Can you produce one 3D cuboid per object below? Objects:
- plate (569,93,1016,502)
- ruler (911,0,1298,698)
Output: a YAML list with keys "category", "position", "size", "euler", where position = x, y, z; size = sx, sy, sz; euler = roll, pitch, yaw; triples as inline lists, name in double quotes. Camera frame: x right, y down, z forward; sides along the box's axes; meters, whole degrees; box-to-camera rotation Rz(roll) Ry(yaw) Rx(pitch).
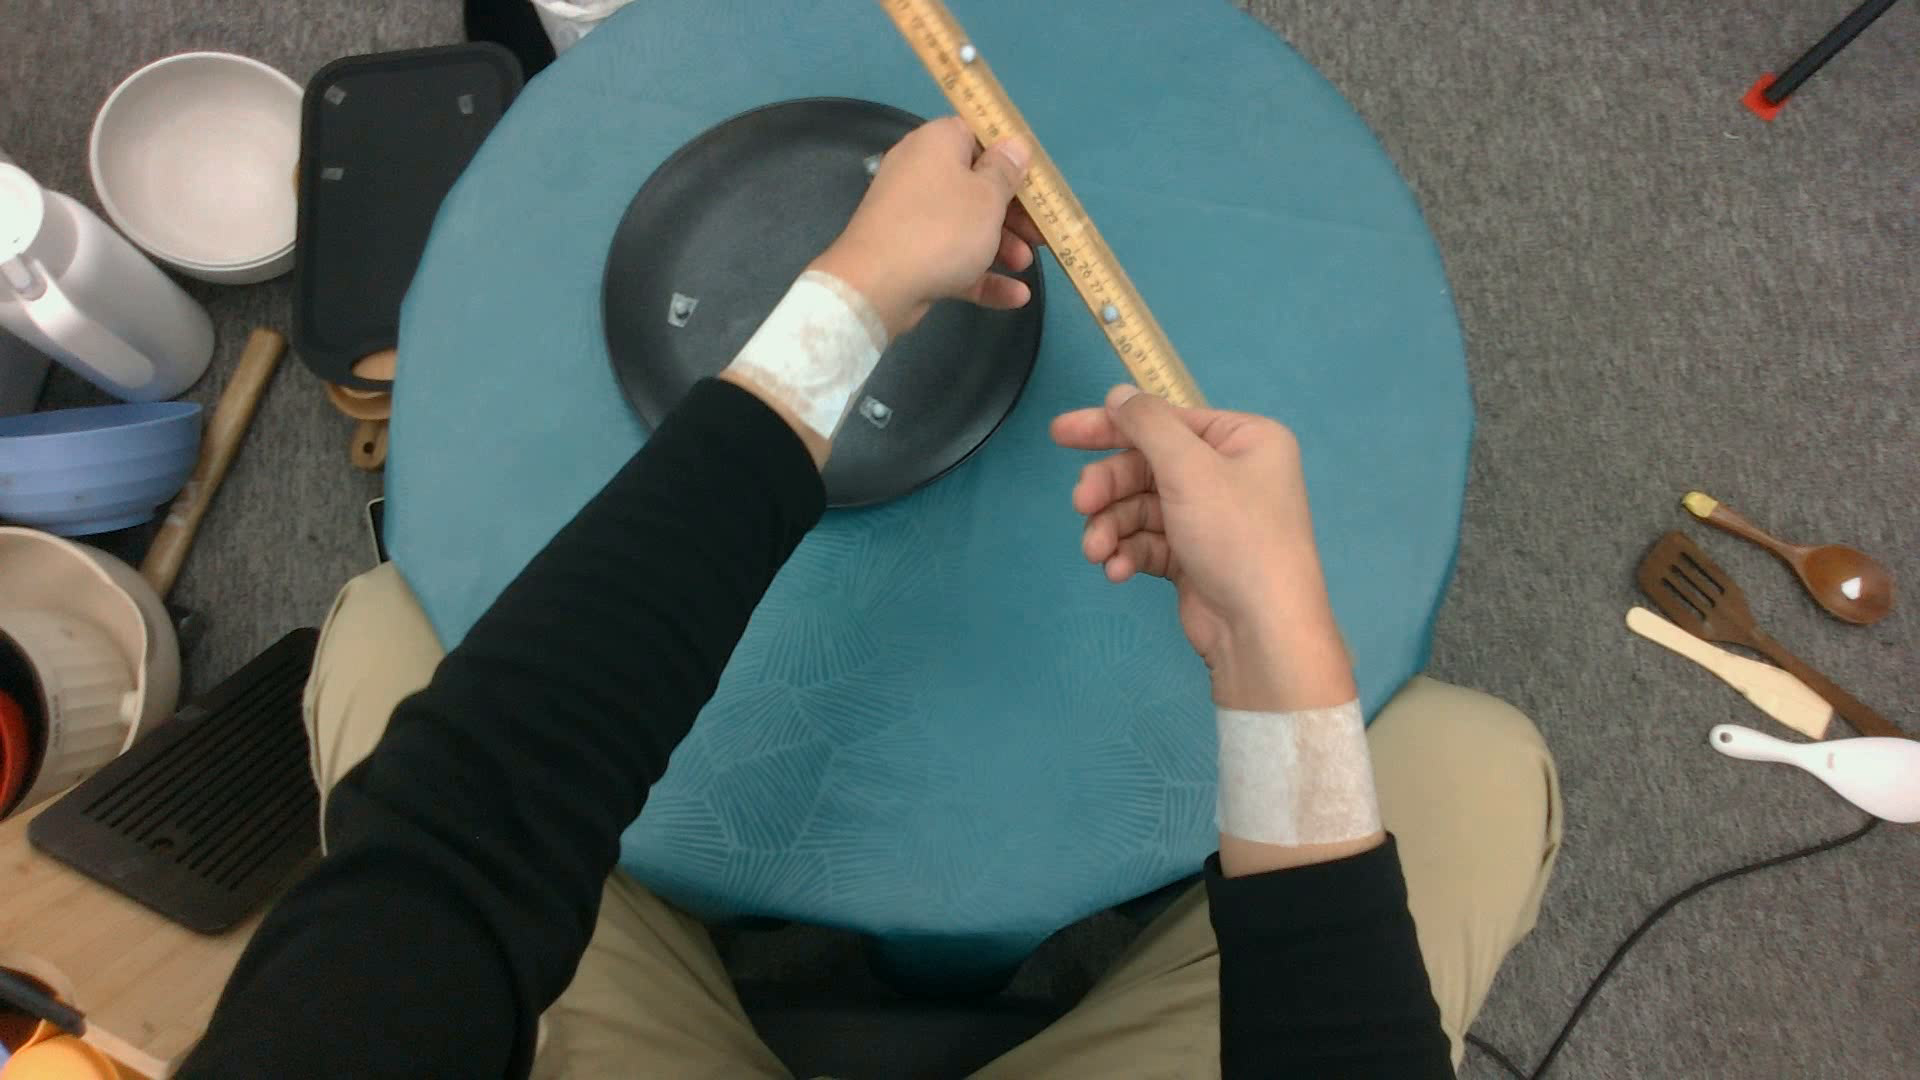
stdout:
- category: "plate"
  position: [-0.091, -0.136, 0.764]
  size: [0.244, 0.023, 0.245]
  euler: [1, 75, -4]
- category: "ruler"
  position: [0.049, -0.145, 0.679]
  size: [0.027, 0.006, 0.500]
  euler: [-28, 95, -14]
